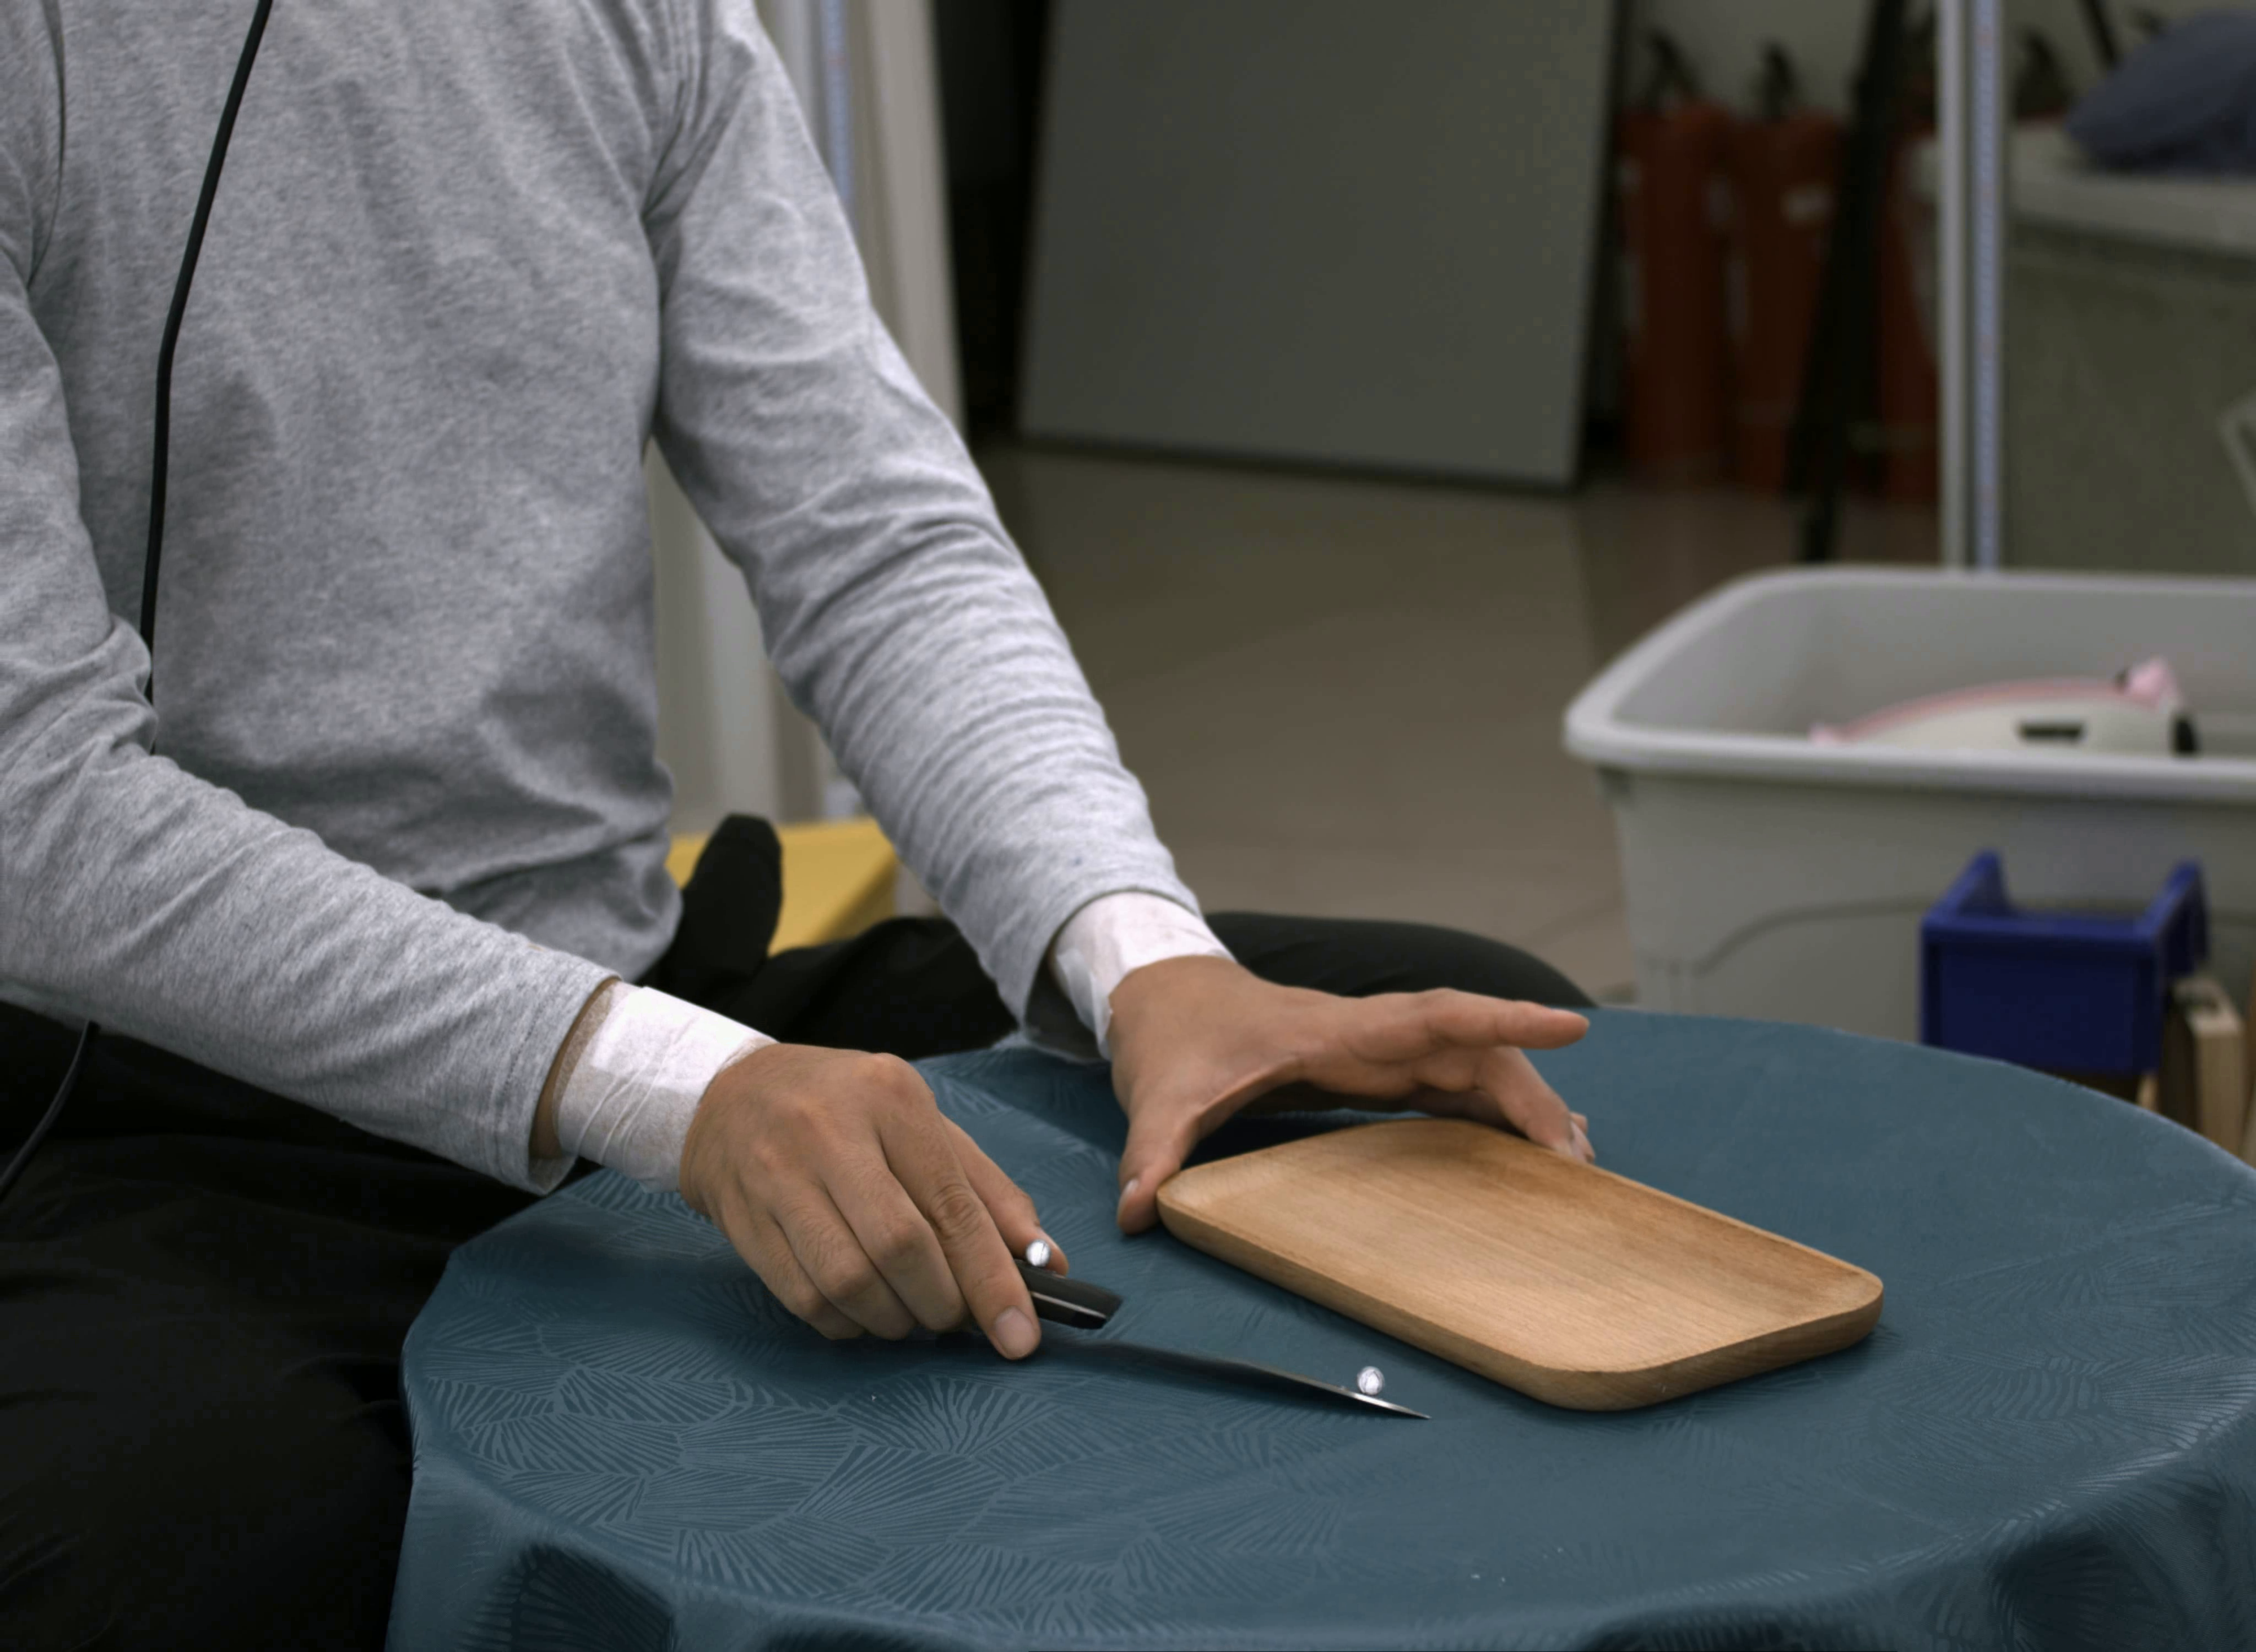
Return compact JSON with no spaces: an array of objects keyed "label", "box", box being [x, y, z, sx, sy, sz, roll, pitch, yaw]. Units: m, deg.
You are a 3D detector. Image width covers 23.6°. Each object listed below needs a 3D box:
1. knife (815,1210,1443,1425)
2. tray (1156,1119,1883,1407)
[{"label":"knife","box":[-0.004,0.148,1.617,0.240,0.016,0.024,14,2,37]},{"label":"tray","box":[0.117,0.132,1.660,0.127,0.023,0.253,-9,13,-29]}]
